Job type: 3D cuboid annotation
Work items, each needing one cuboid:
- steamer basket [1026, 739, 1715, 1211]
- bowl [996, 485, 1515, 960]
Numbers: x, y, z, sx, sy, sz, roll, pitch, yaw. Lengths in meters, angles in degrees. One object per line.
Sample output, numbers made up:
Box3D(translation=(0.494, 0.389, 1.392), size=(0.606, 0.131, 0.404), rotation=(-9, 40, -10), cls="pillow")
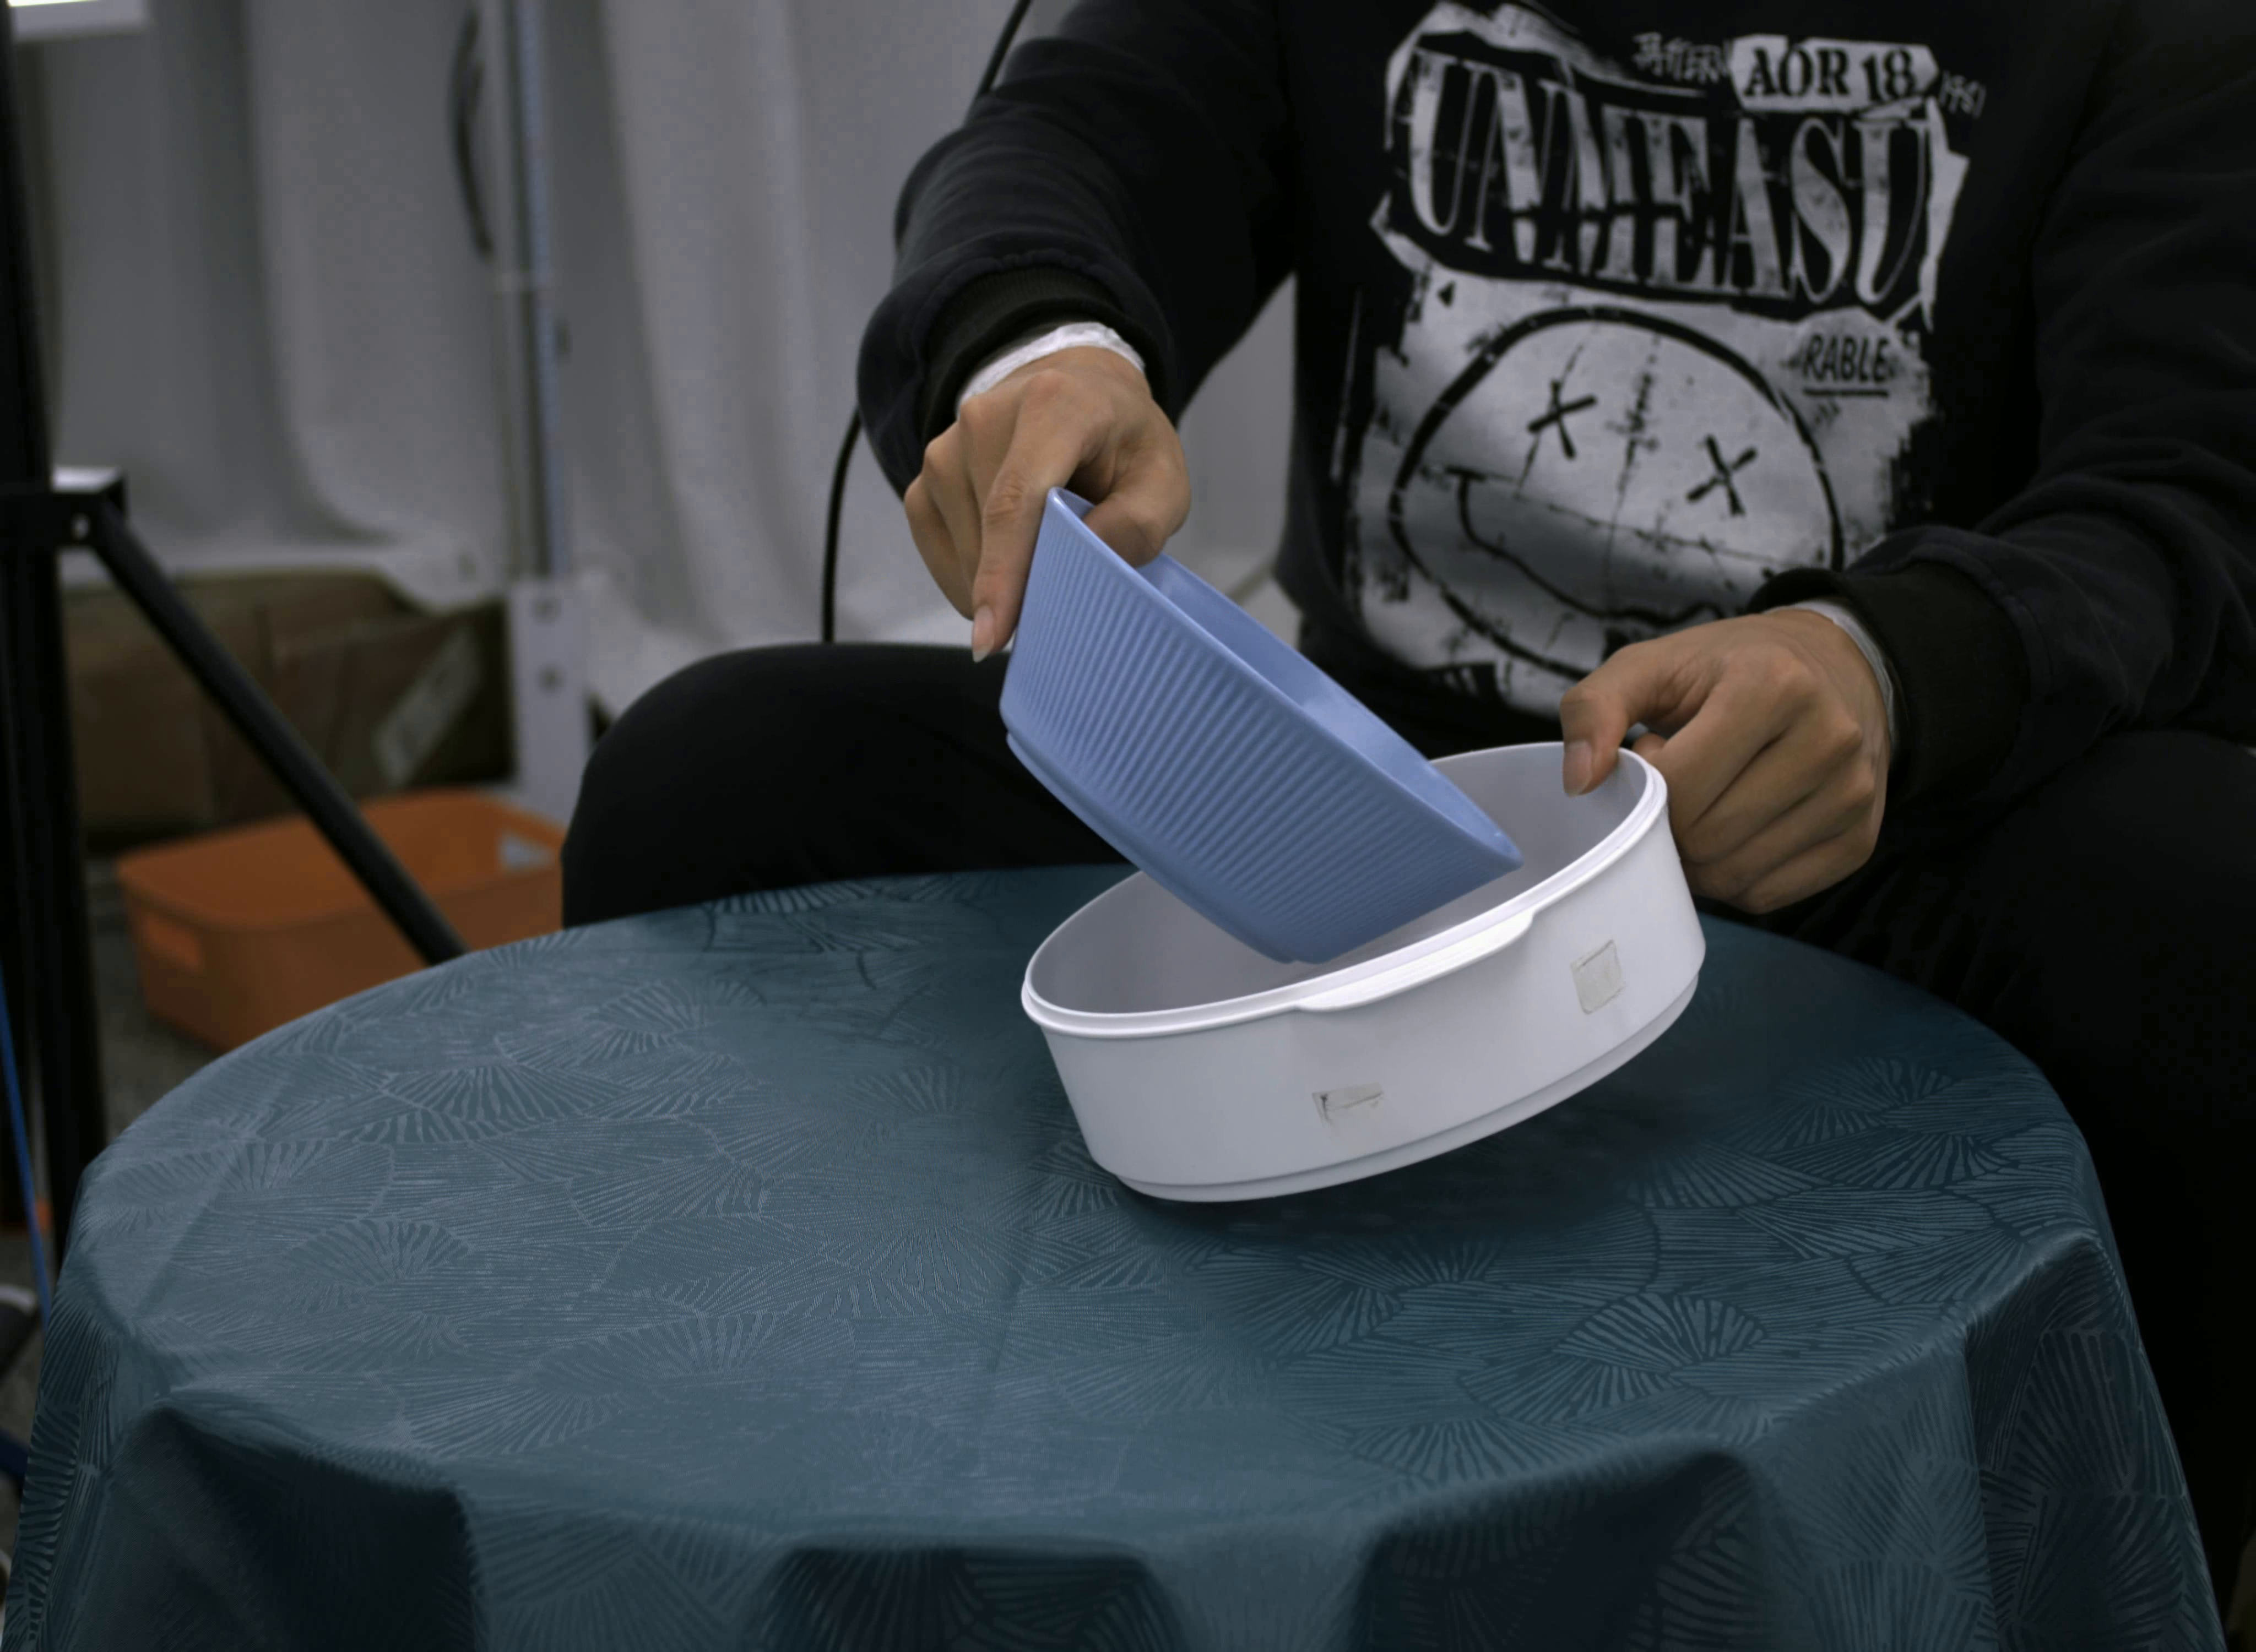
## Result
Box3D(translation=(0.074, 0.045, 1.566), size=(0.200, 0.069, 0.233), rotation=(-21, 17, -5), cls="steamer basket")
Box3D(translation=(0.026, -0.021, 1.559), size=(0.175, 0.070, 0.176), rotation=(38, 6, -6), cls="bowl")
